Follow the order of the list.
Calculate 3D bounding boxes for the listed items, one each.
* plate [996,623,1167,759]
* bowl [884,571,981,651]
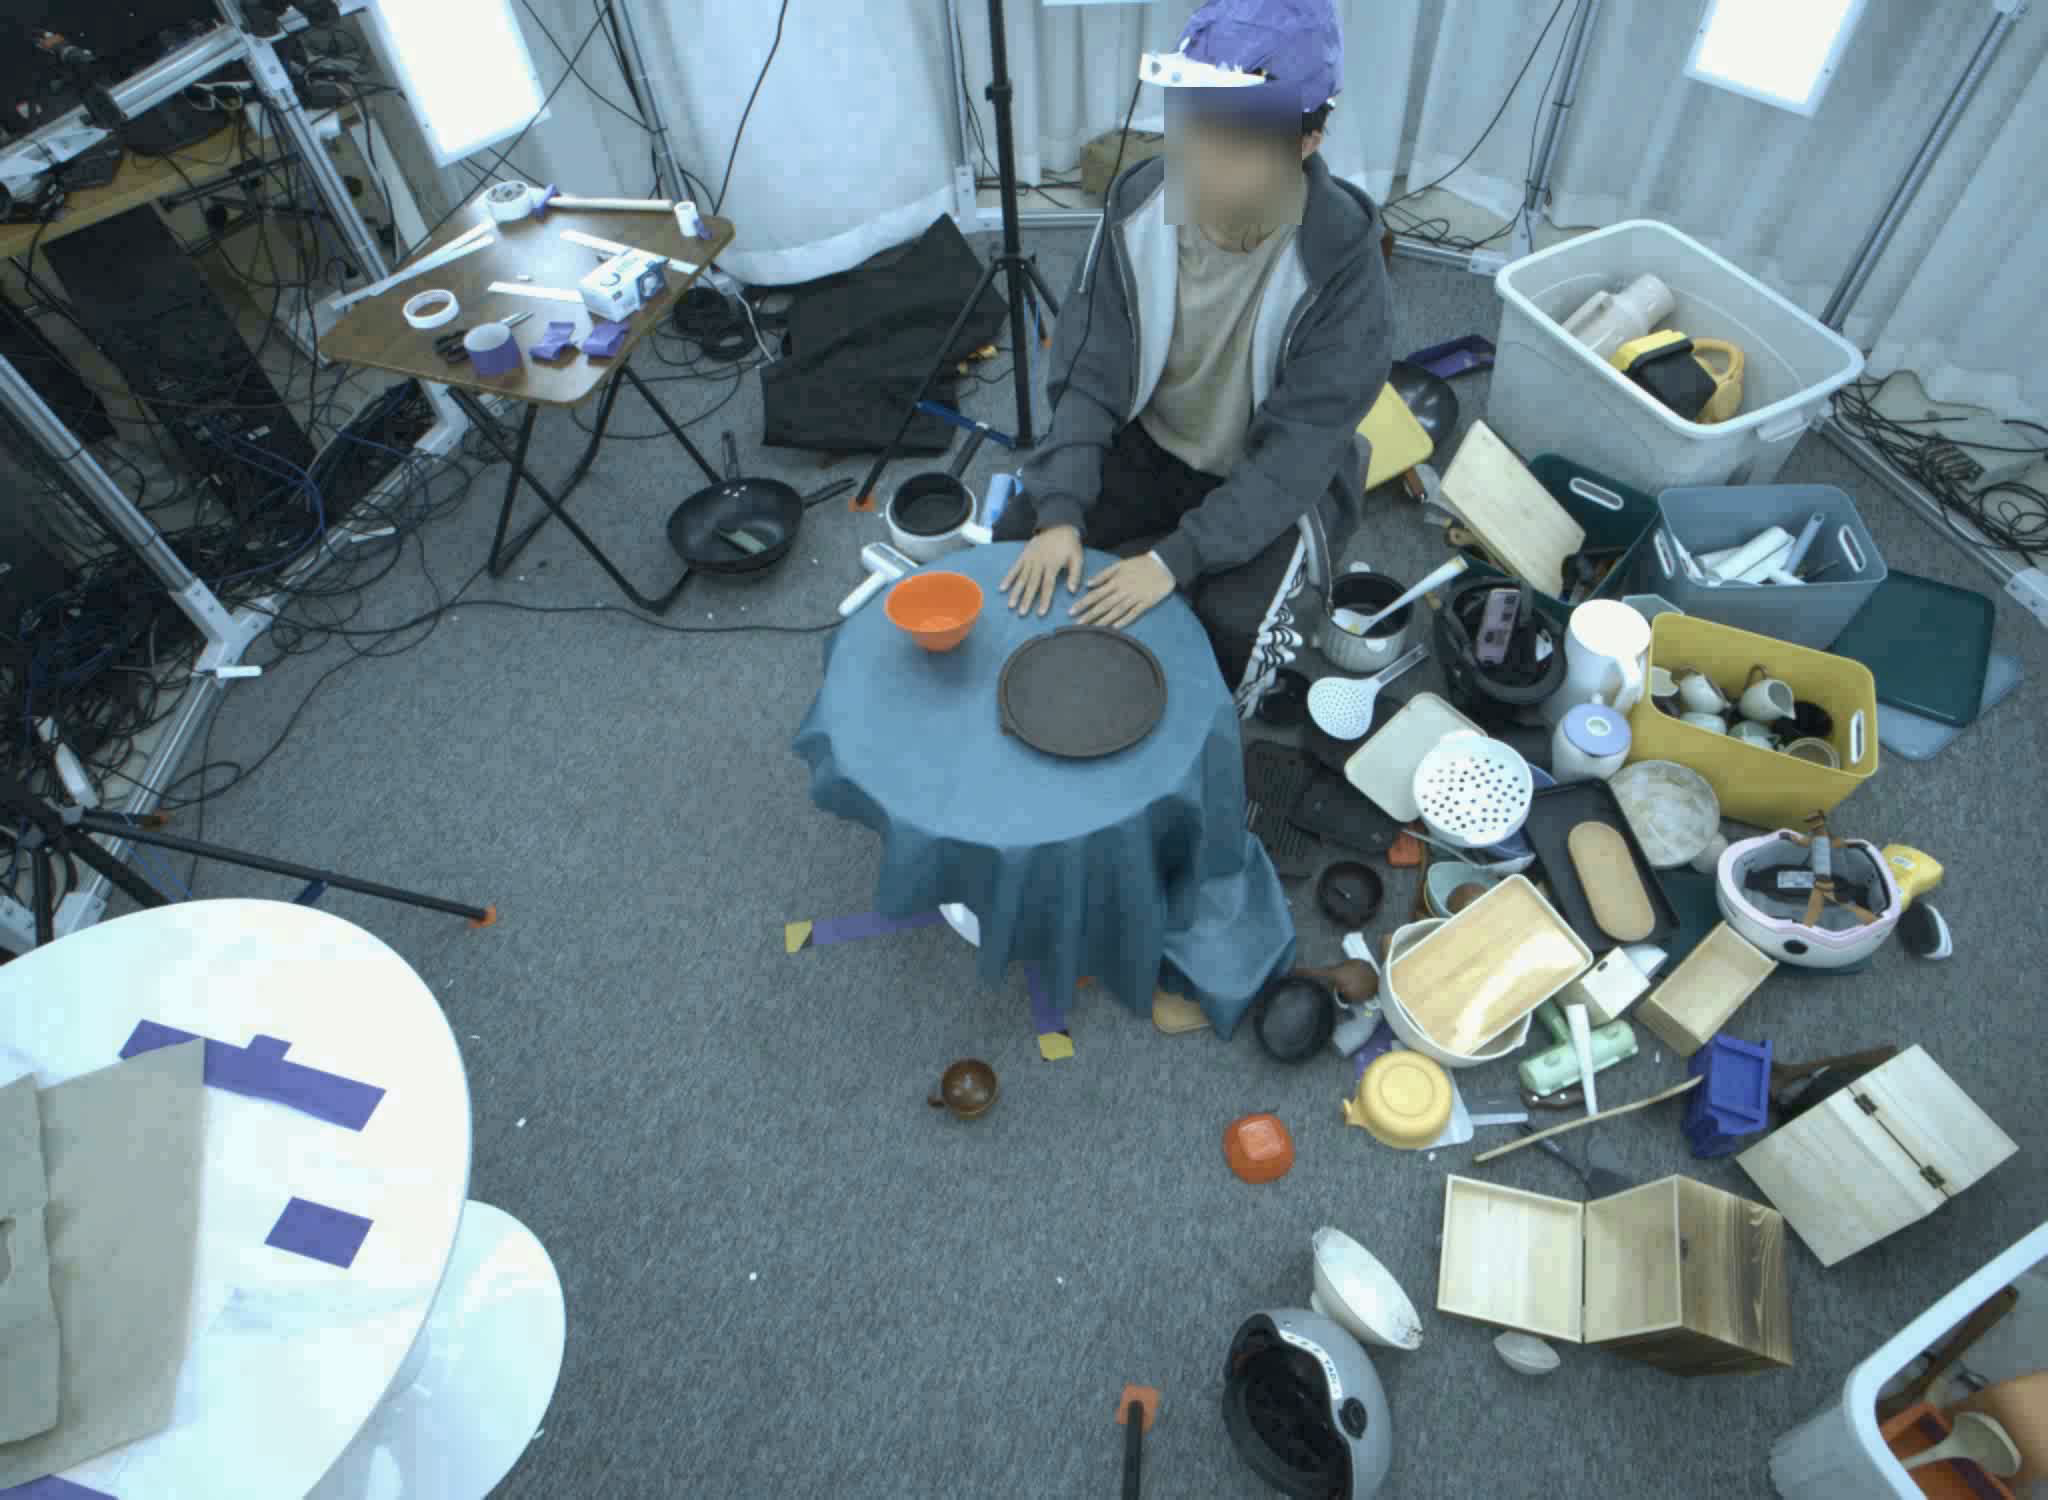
[{"bbox_3d":[0.085,-0.089,1.836,0.254,0.029,0.252,-1,54,3],"label":"plate"},{"bbox_3d":[-0.134,-0.200,1.874,0.148,0.106,0.146,-2,55,4],"label":"bowl"}]
